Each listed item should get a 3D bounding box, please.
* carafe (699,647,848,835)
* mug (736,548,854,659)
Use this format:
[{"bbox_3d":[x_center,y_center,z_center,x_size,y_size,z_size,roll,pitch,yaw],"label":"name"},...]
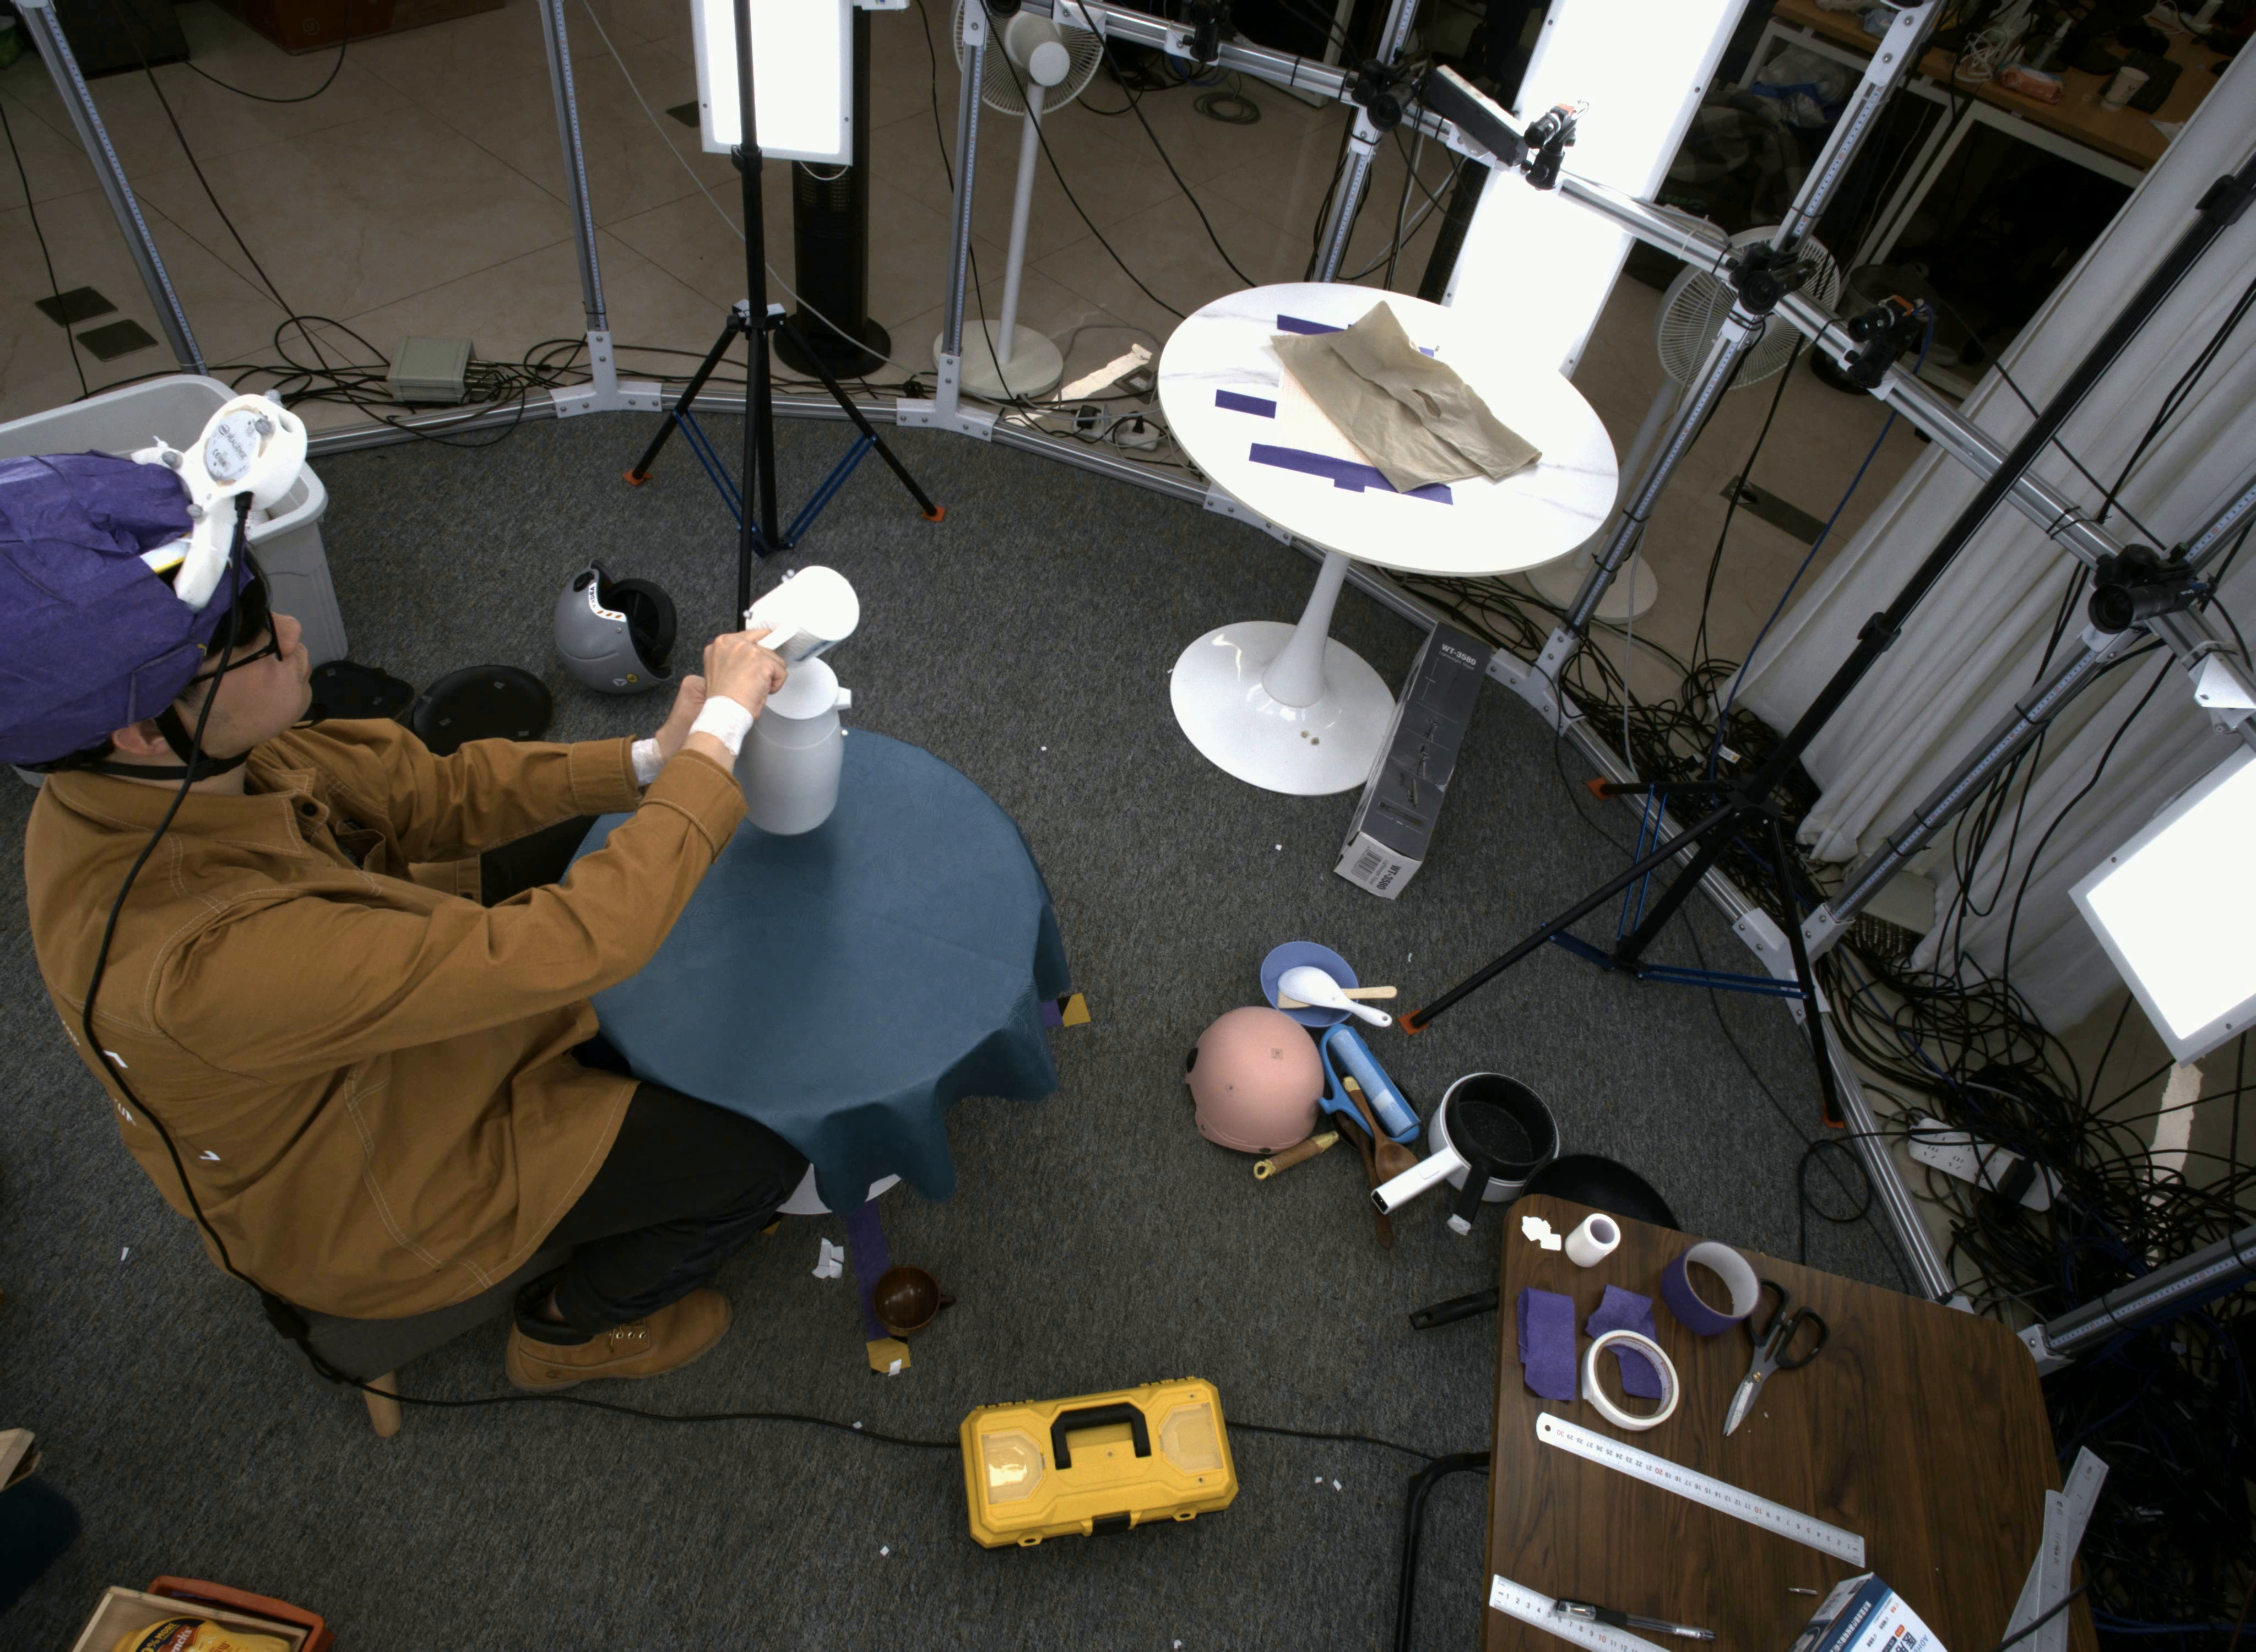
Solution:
[{"bbox_3d":[-0.425,-0.108,1.541,0.168,0.251,0.130,1,61,-17],"label":"carafe"},{"bbox_3d":[-0.358,-0.225,1.355,0.087,0.100,0.118,55,47,-15],"label":"mug"}]
